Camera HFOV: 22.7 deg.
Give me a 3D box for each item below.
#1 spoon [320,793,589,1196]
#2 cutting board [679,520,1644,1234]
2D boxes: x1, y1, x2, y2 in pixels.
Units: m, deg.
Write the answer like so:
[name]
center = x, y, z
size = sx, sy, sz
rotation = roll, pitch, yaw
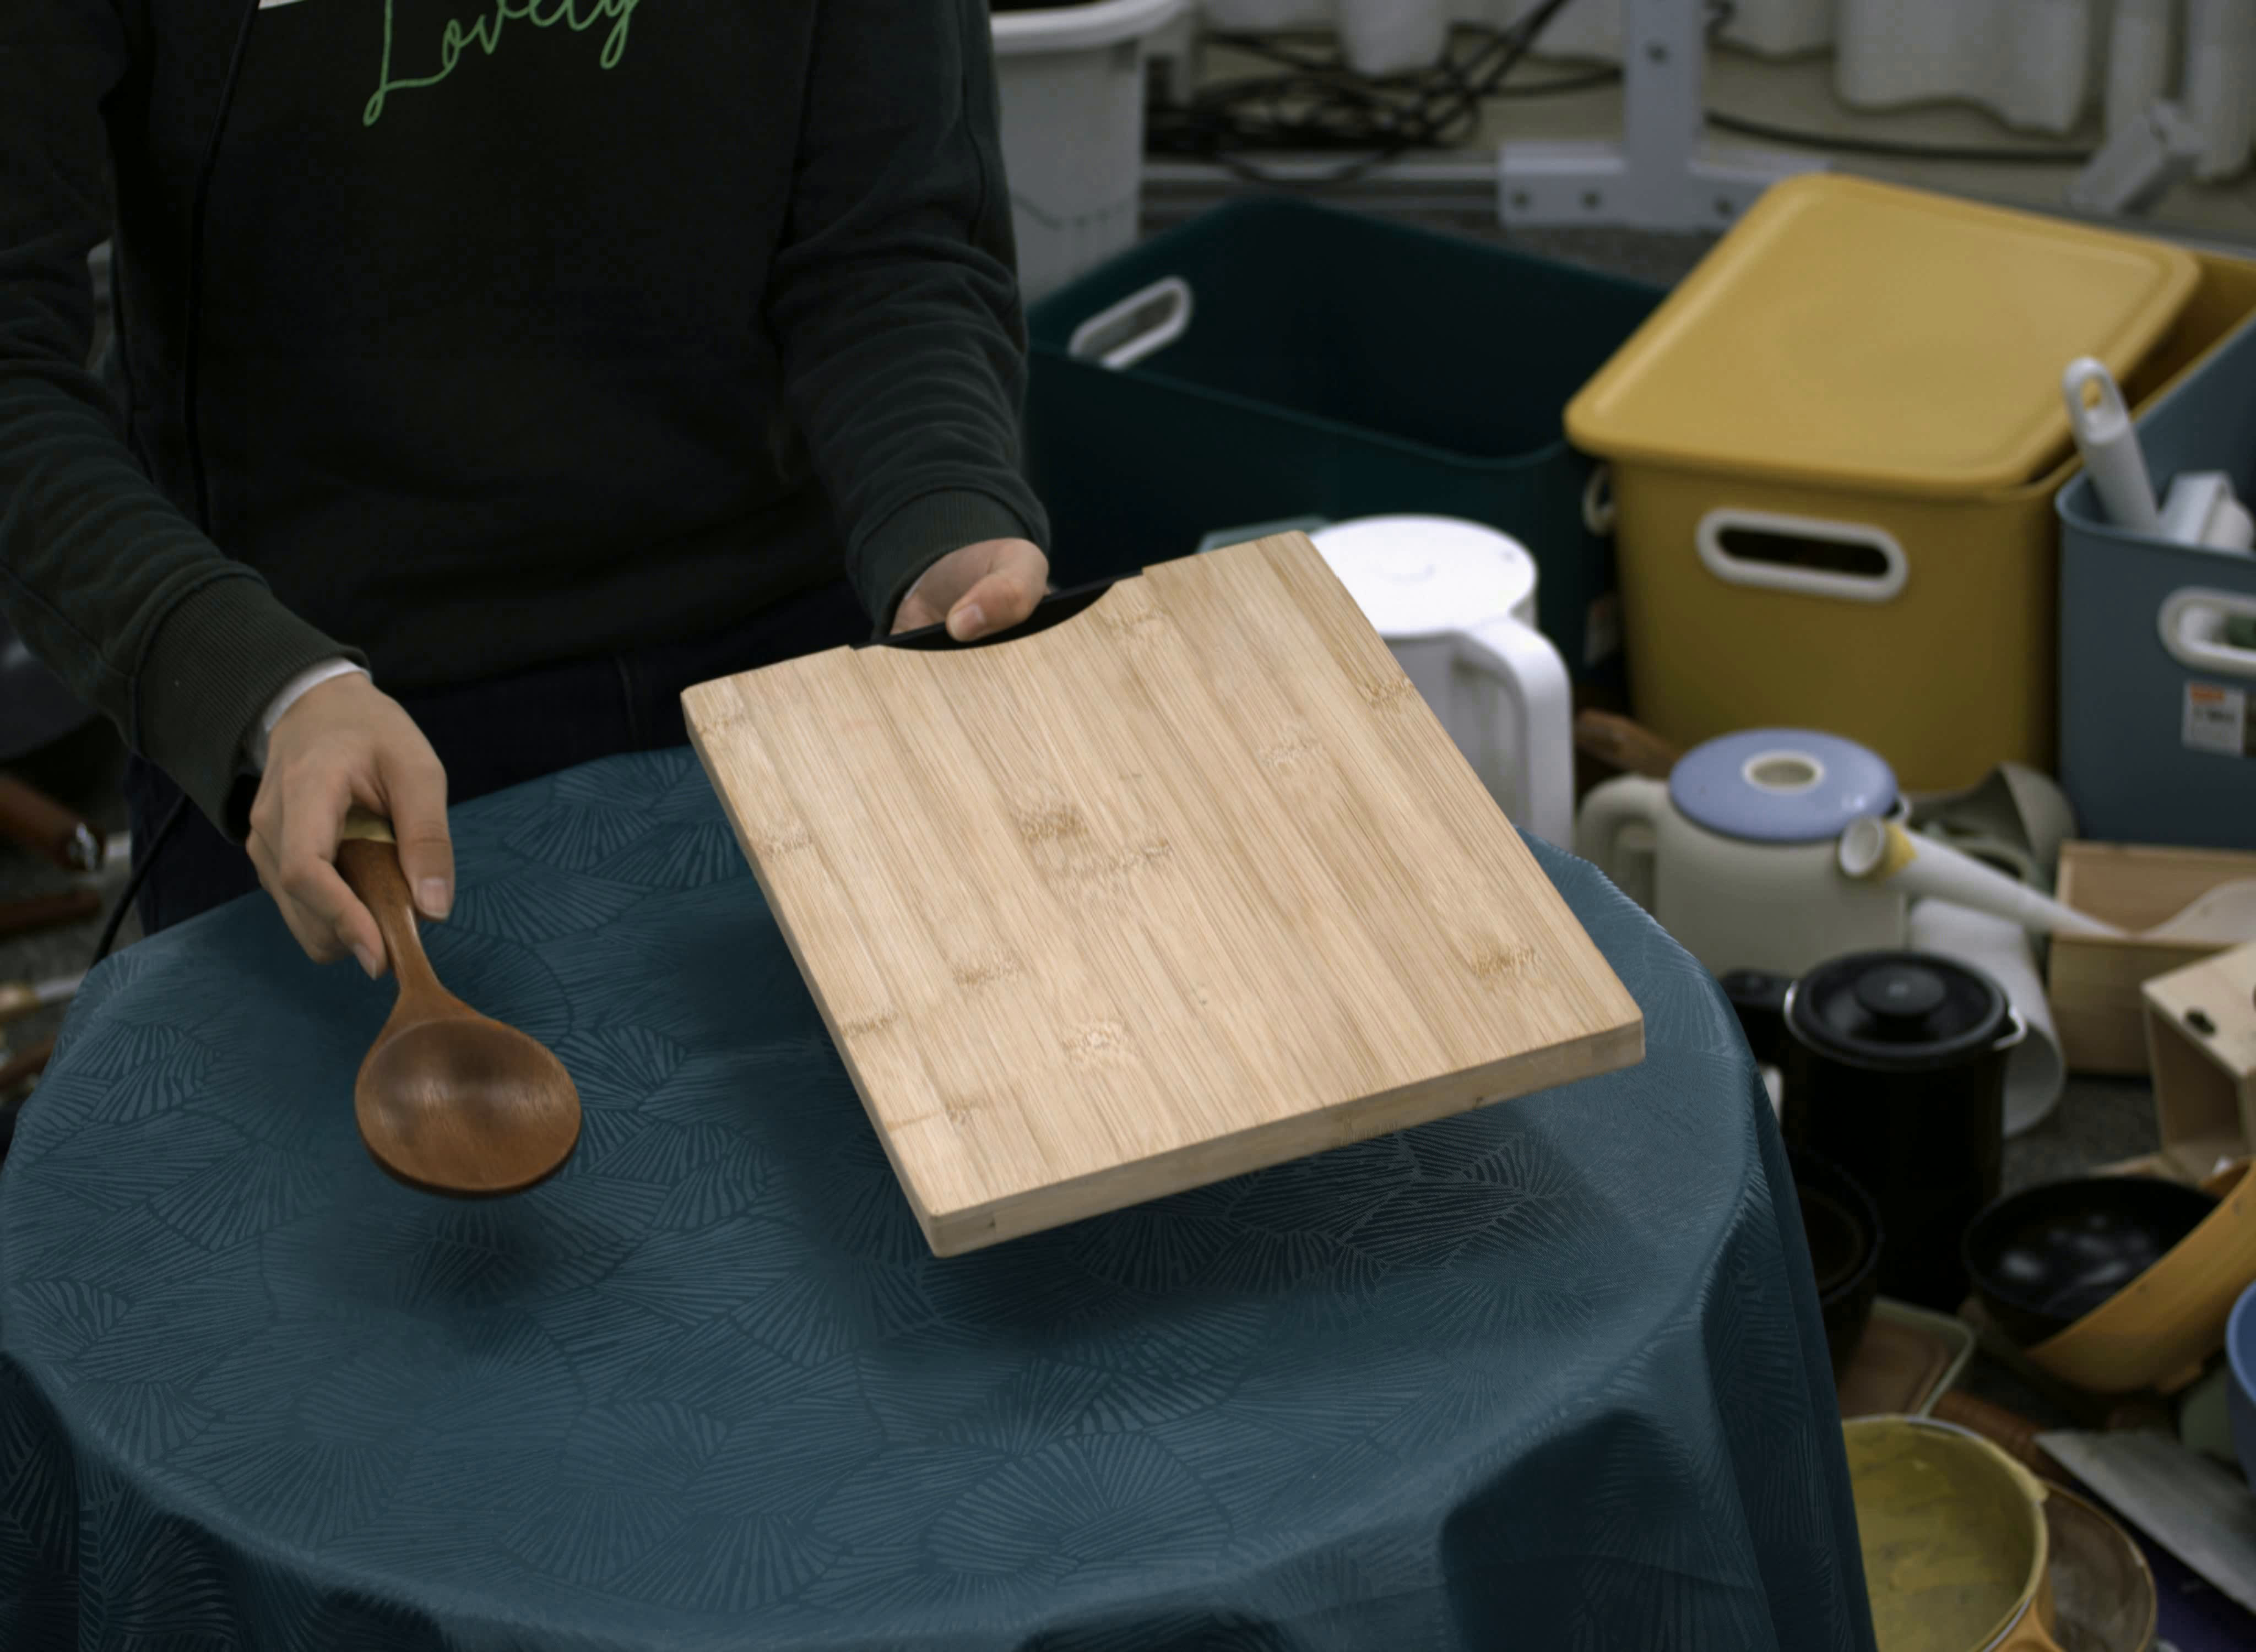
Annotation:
[spoon]
center = -0.235, 0.057, 1.874
size = 0.075, 0.017, 0.218
rotation = -10, 39, -17
[cutting board]
center = 0.002, 0.010, 1.913
size = 0.251, 0.023, 0.352
rotation = -14, 33, -12
